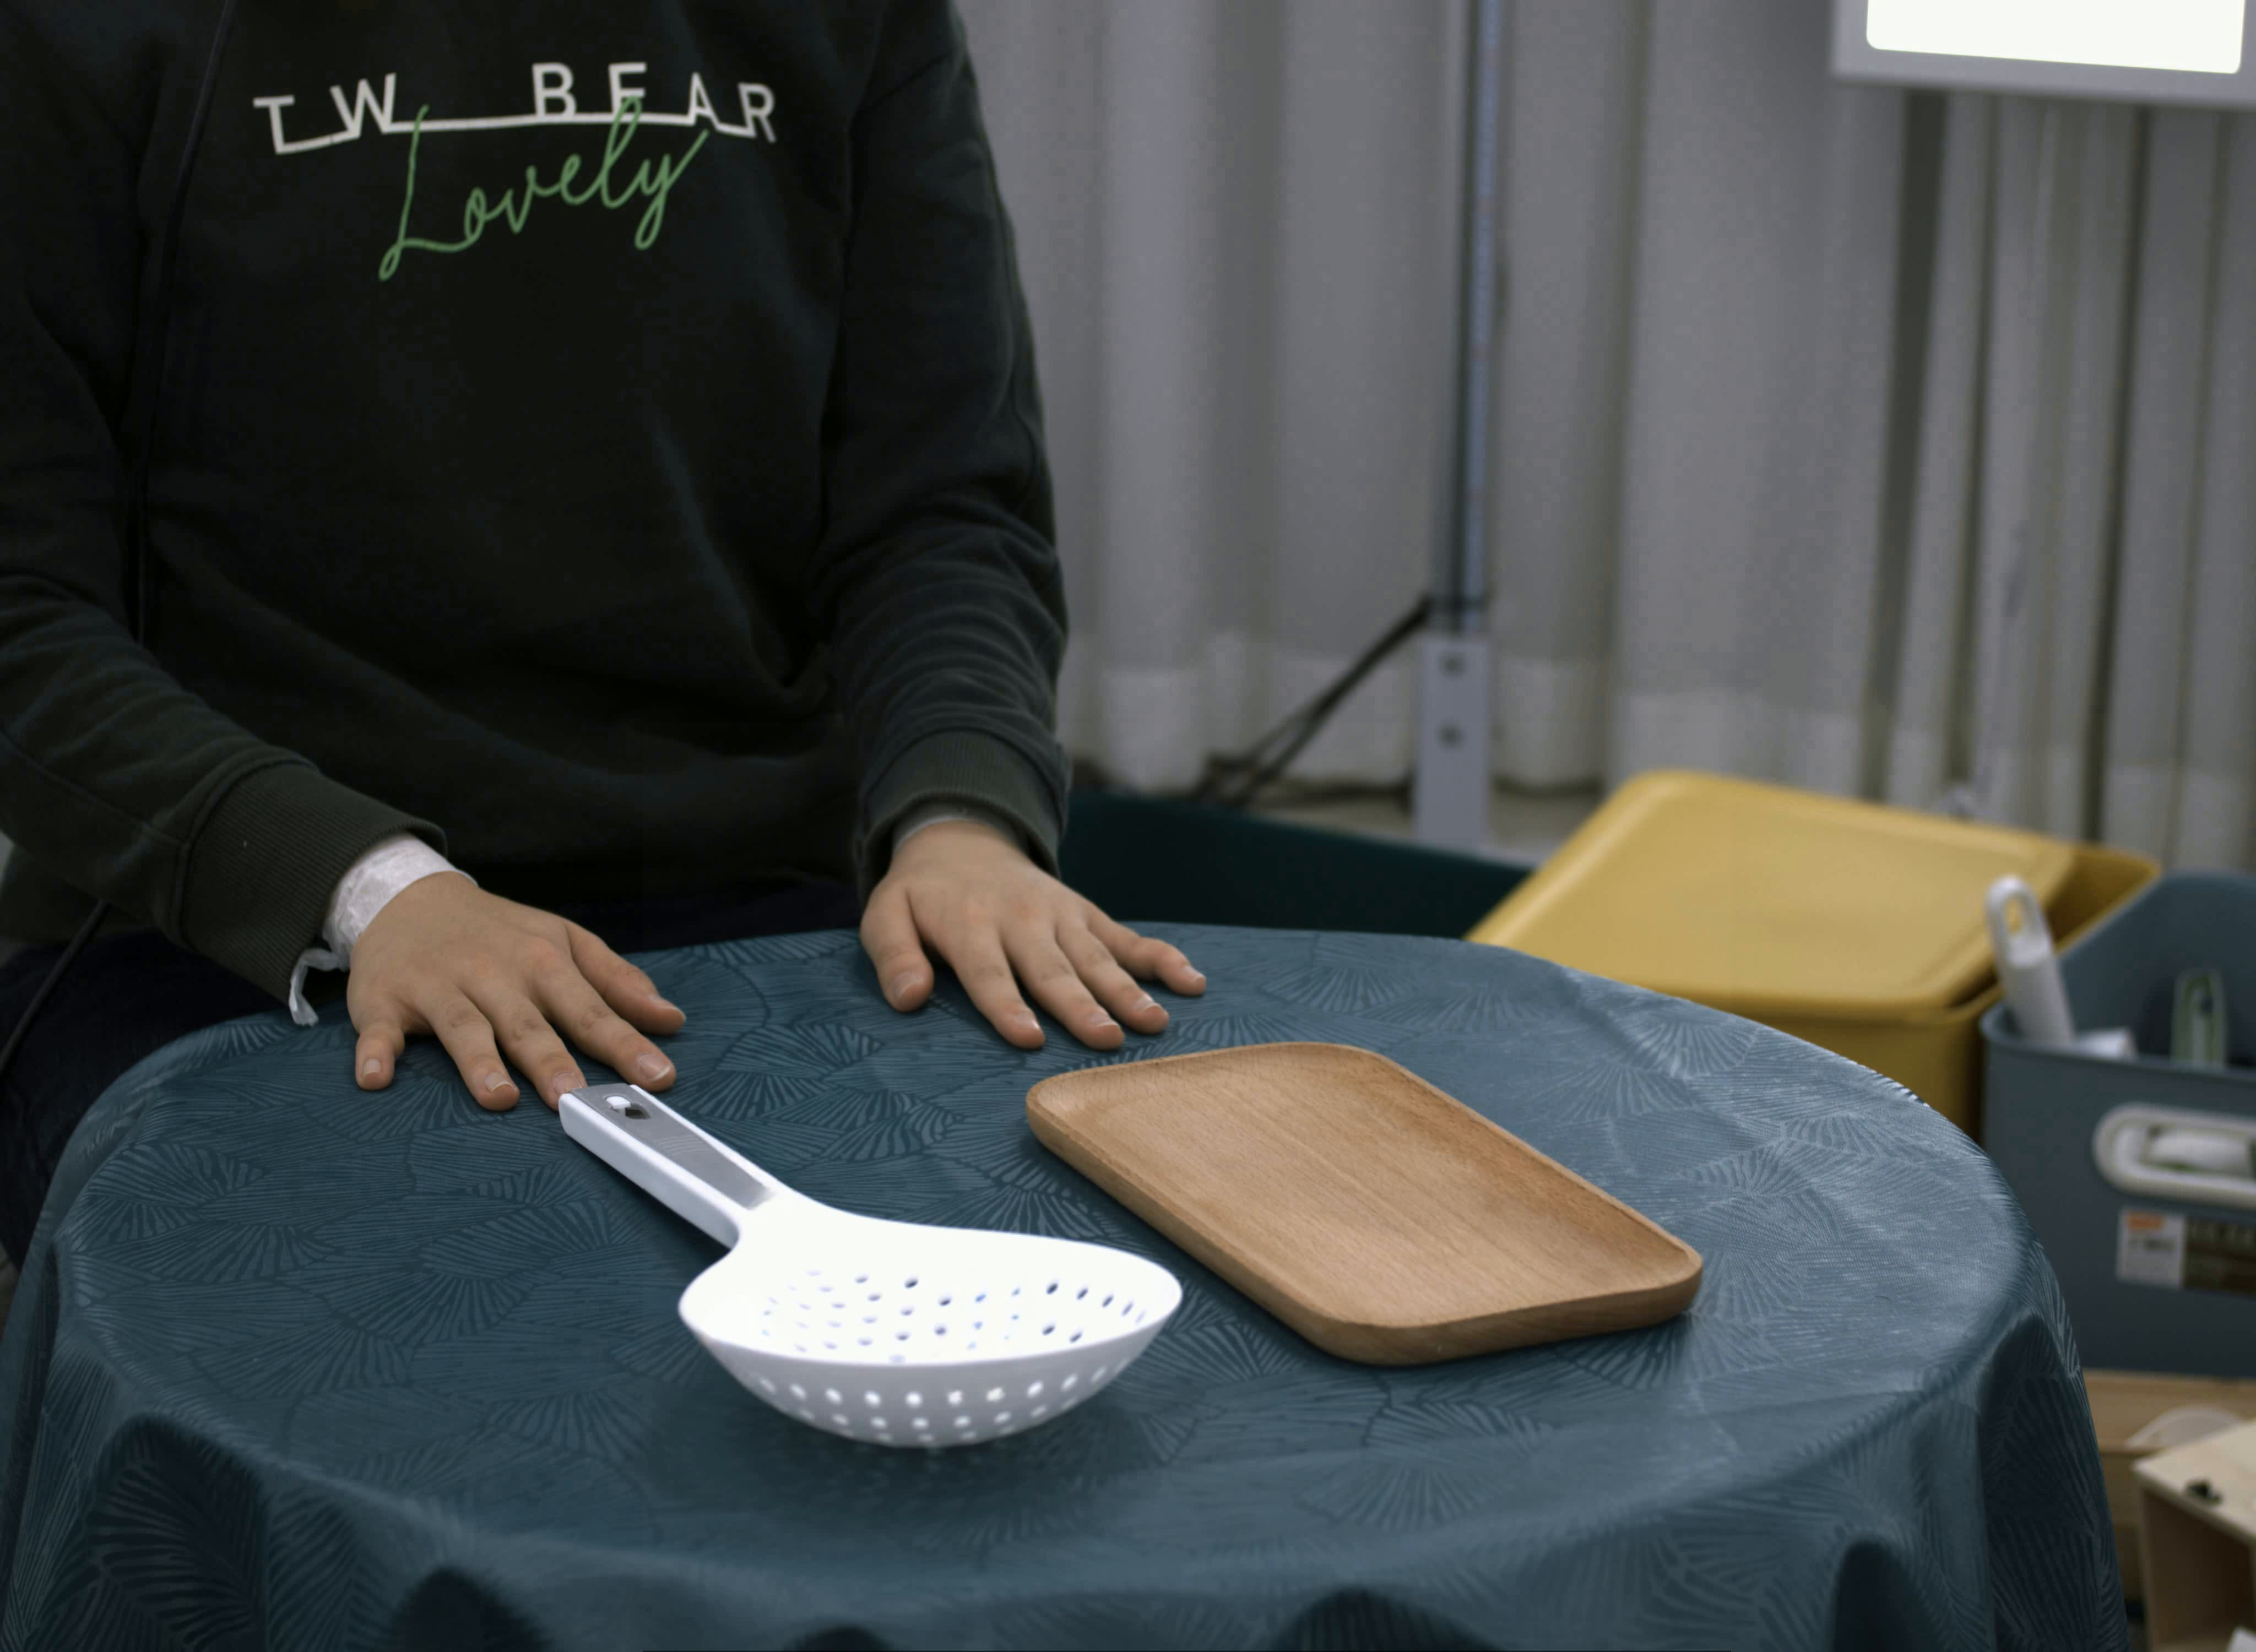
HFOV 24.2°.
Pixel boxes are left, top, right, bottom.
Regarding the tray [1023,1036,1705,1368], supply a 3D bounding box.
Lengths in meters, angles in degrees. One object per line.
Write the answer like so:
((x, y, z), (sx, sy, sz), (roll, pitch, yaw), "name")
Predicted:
((0.067, 0.111, 1.603), (0.131, 0.023, 0.248), (-5, 16, -24), "tray")

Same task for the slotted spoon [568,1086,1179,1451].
((-0.098, 0.118, 1.520), (0.136, 0.046, 0.345), (-4, 16, -24), "slotted spoon")
